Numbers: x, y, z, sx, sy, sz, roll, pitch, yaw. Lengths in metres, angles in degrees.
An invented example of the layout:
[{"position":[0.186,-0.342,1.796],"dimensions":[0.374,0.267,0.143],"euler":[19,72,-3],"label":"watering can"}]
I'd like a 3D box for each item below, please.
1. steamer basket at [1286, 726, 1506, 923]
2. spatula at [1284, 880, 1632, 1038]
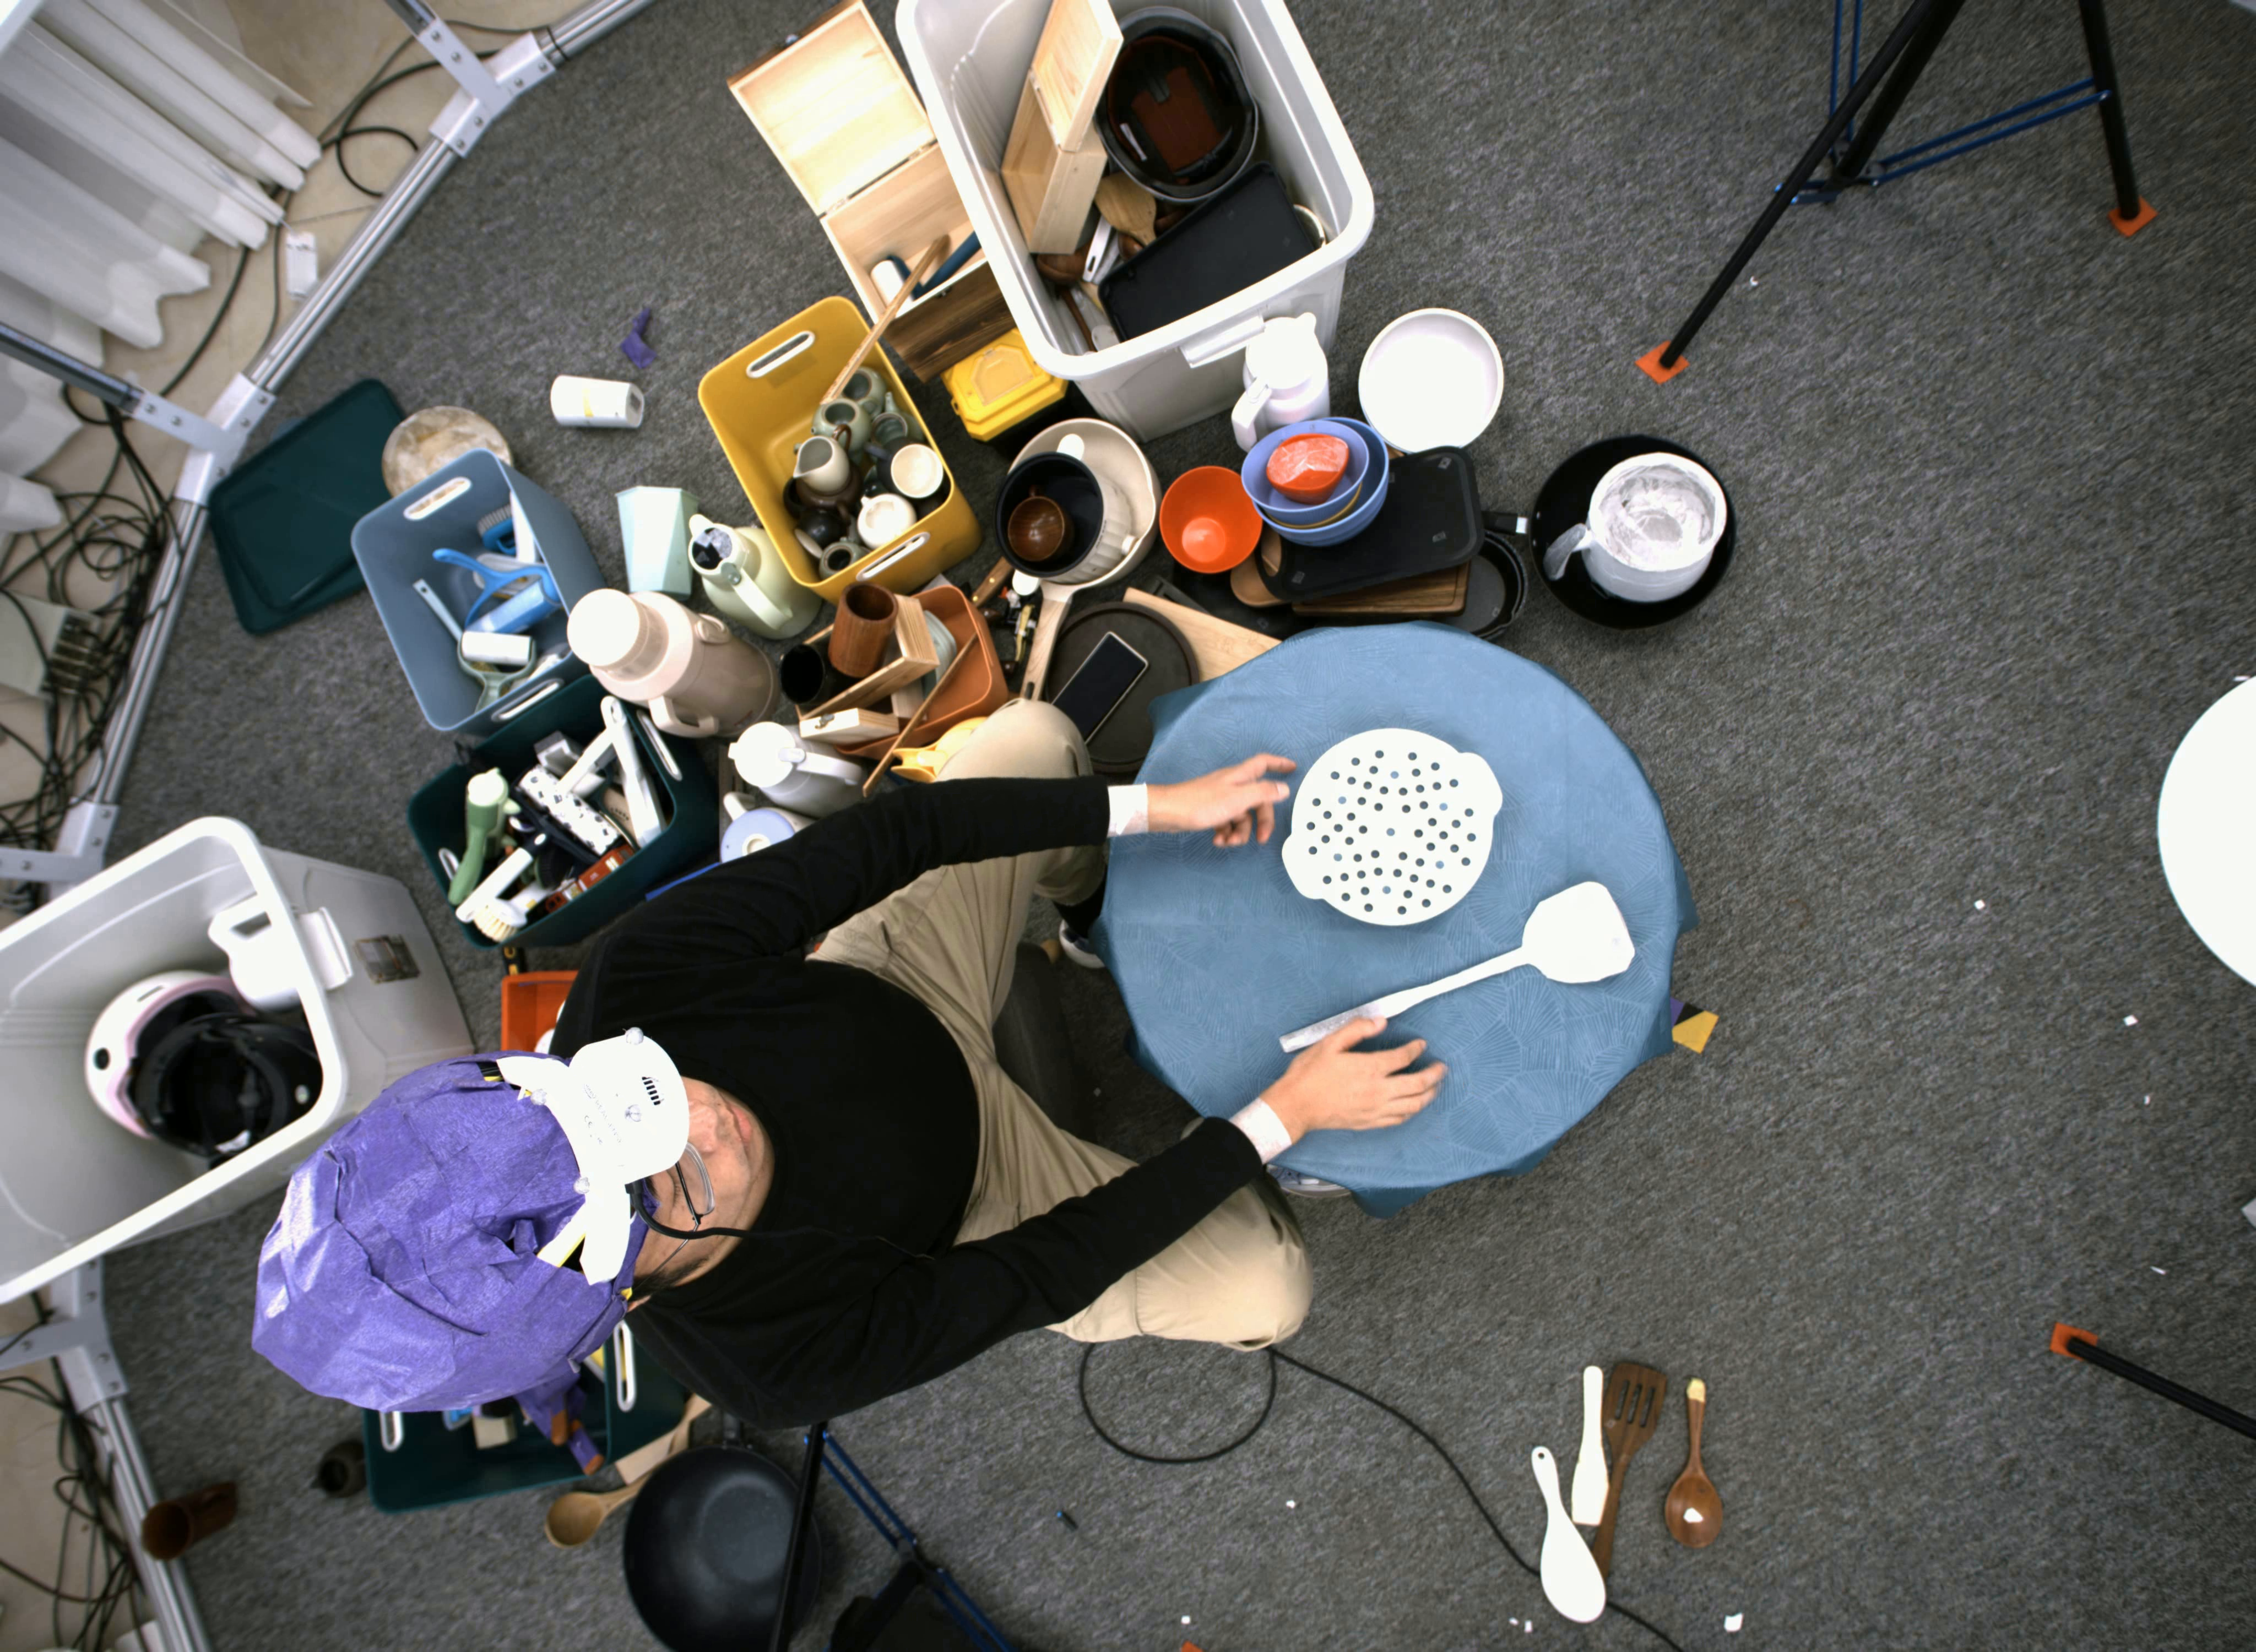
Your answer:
[{"position":[0.277,-0.001,1.428],"dimensions":[0.232,0.069,0.200],"euler":[-26,81,9],"label":"steamer basket"},{"position":[0.334,0.156,1.424],"dimensions":[0.367,0.045,0.098],"euler":[-21,85,9],"label":"spatula"}]
